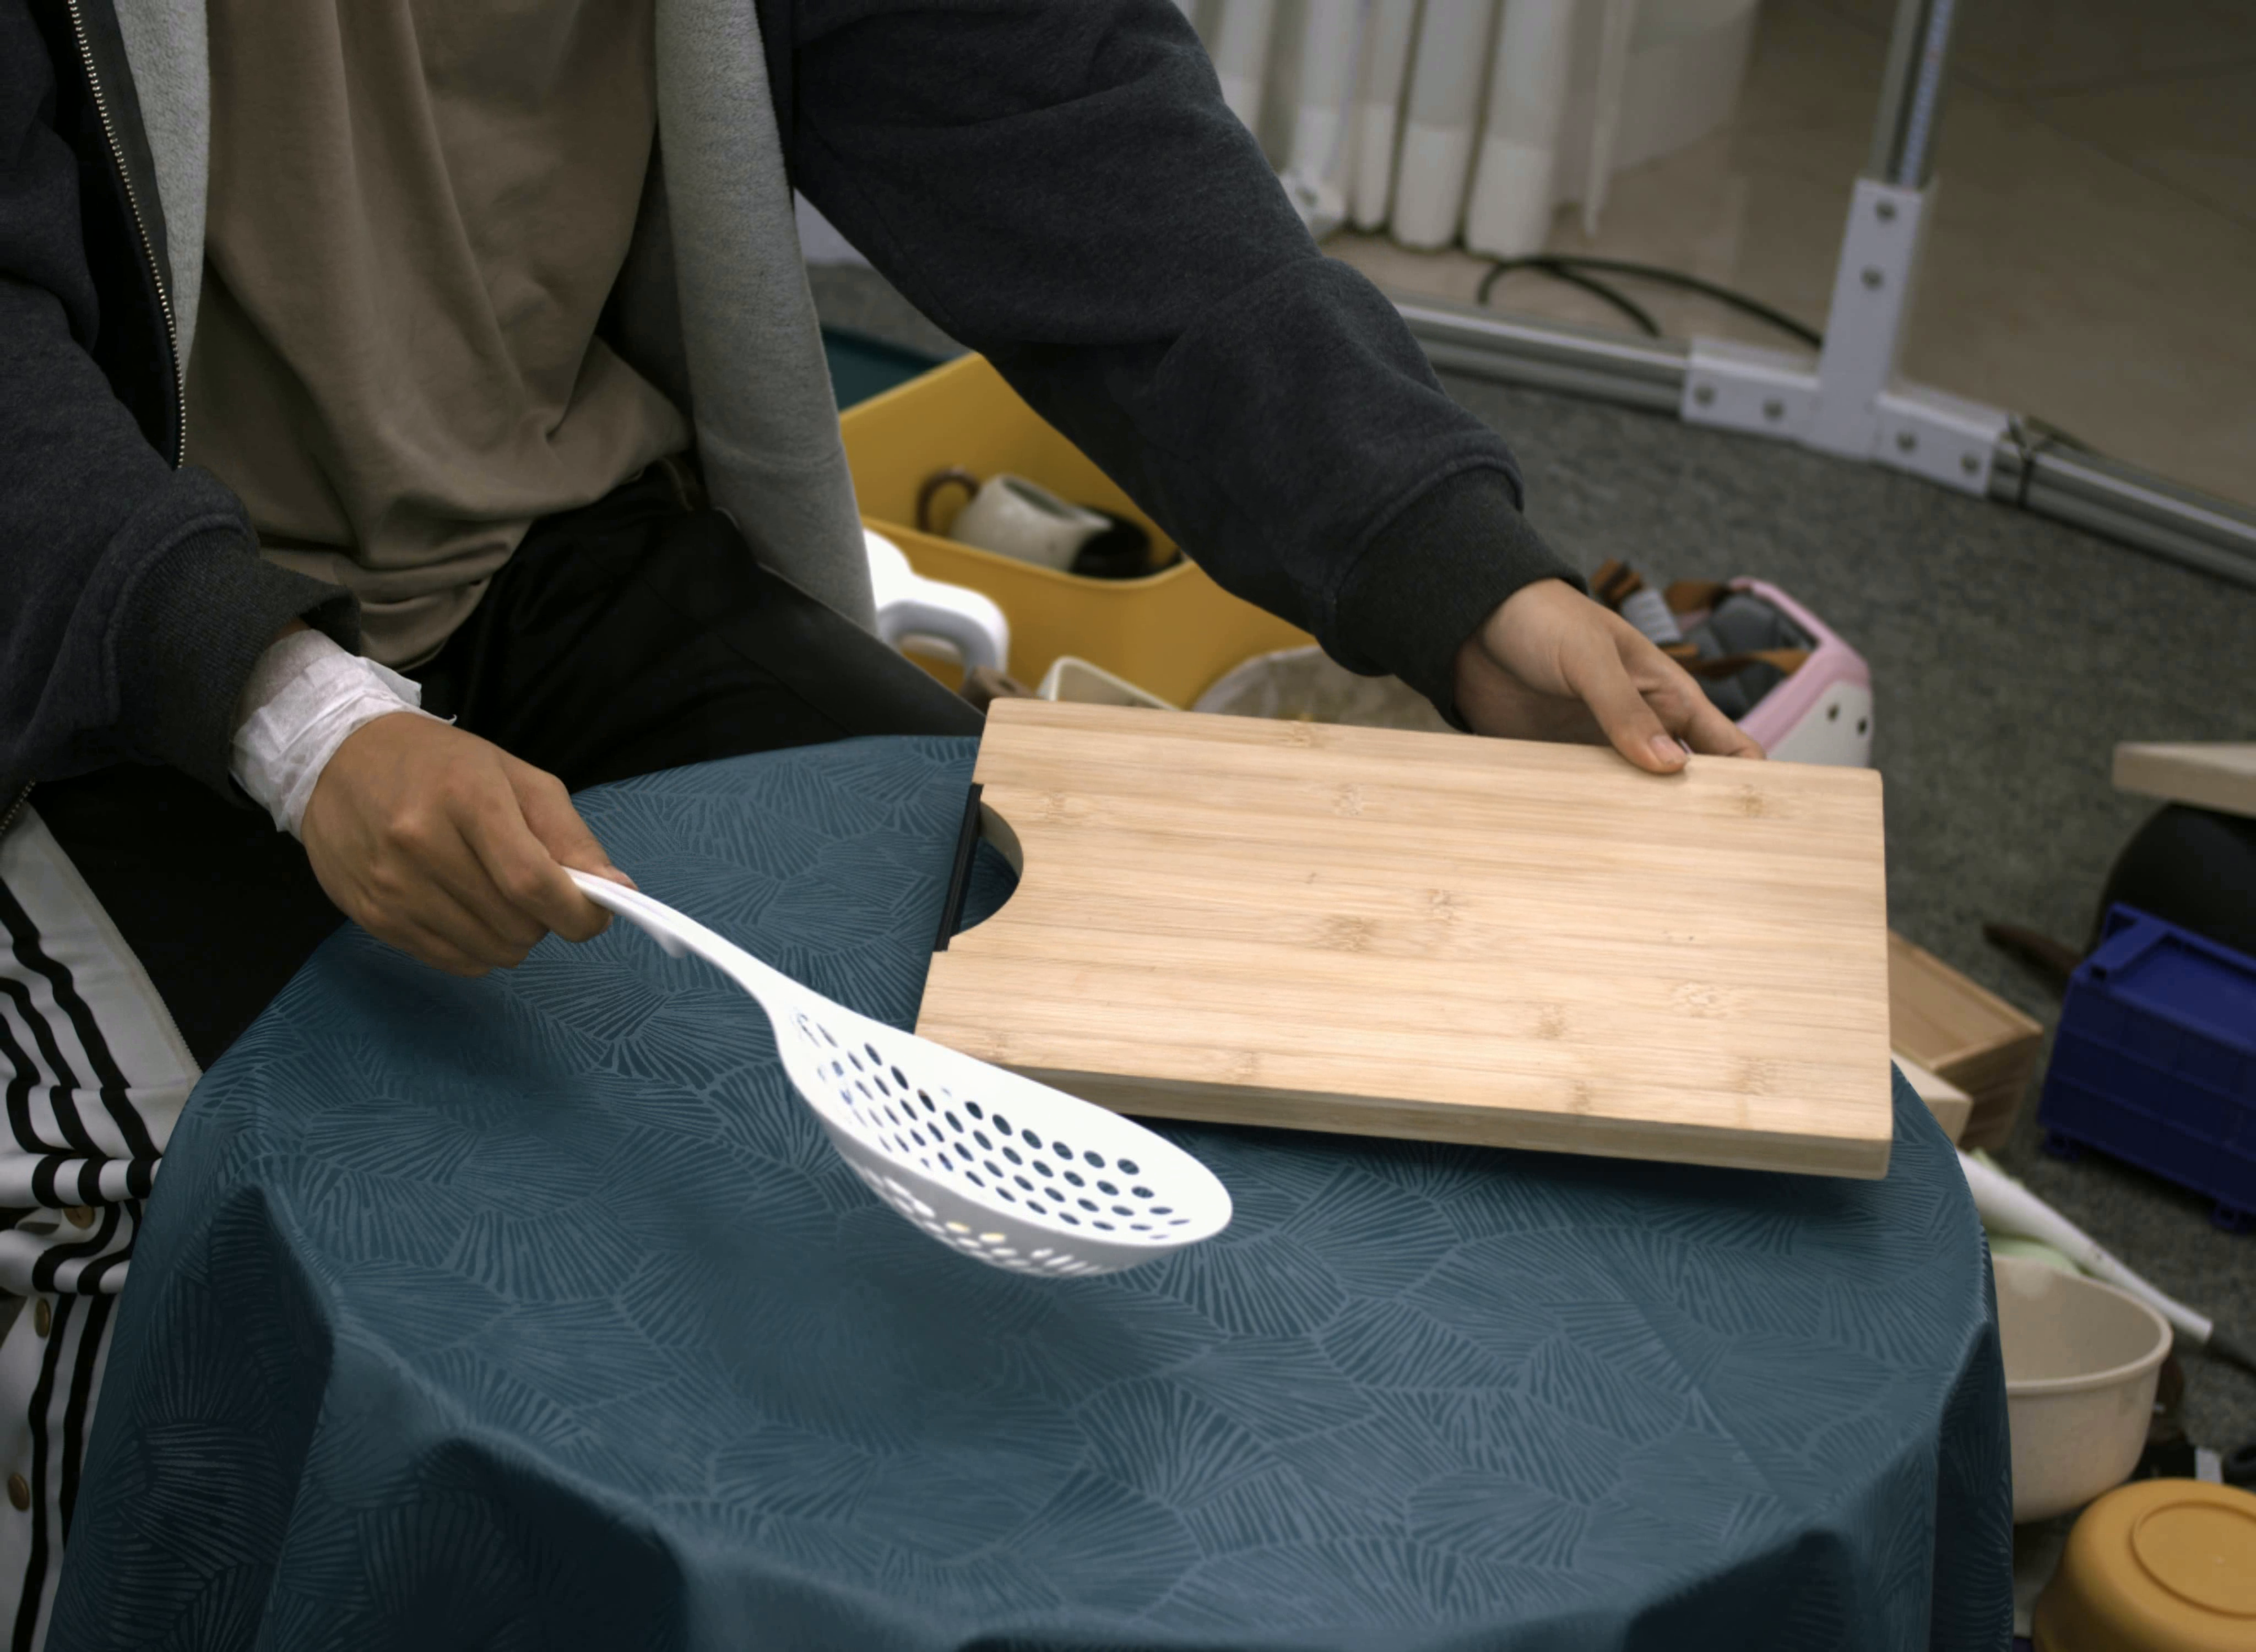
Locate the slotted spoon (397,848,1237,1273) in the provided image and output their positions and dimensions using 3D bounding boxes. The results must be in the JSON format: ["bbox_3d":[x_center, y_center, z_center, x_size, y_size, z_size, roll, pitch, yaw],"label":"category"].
[{"bbox_3d":[-0.115,0.066,1.753,0.350,0.050,0.136,33,21,33],"label":"slotted spoon"}]

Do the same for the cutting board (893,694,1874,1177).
[{"bbox_3d":[0.099,0.036,1.928,0.348,0.023,0.252,4,33,4],"label":"cutting board"}]
